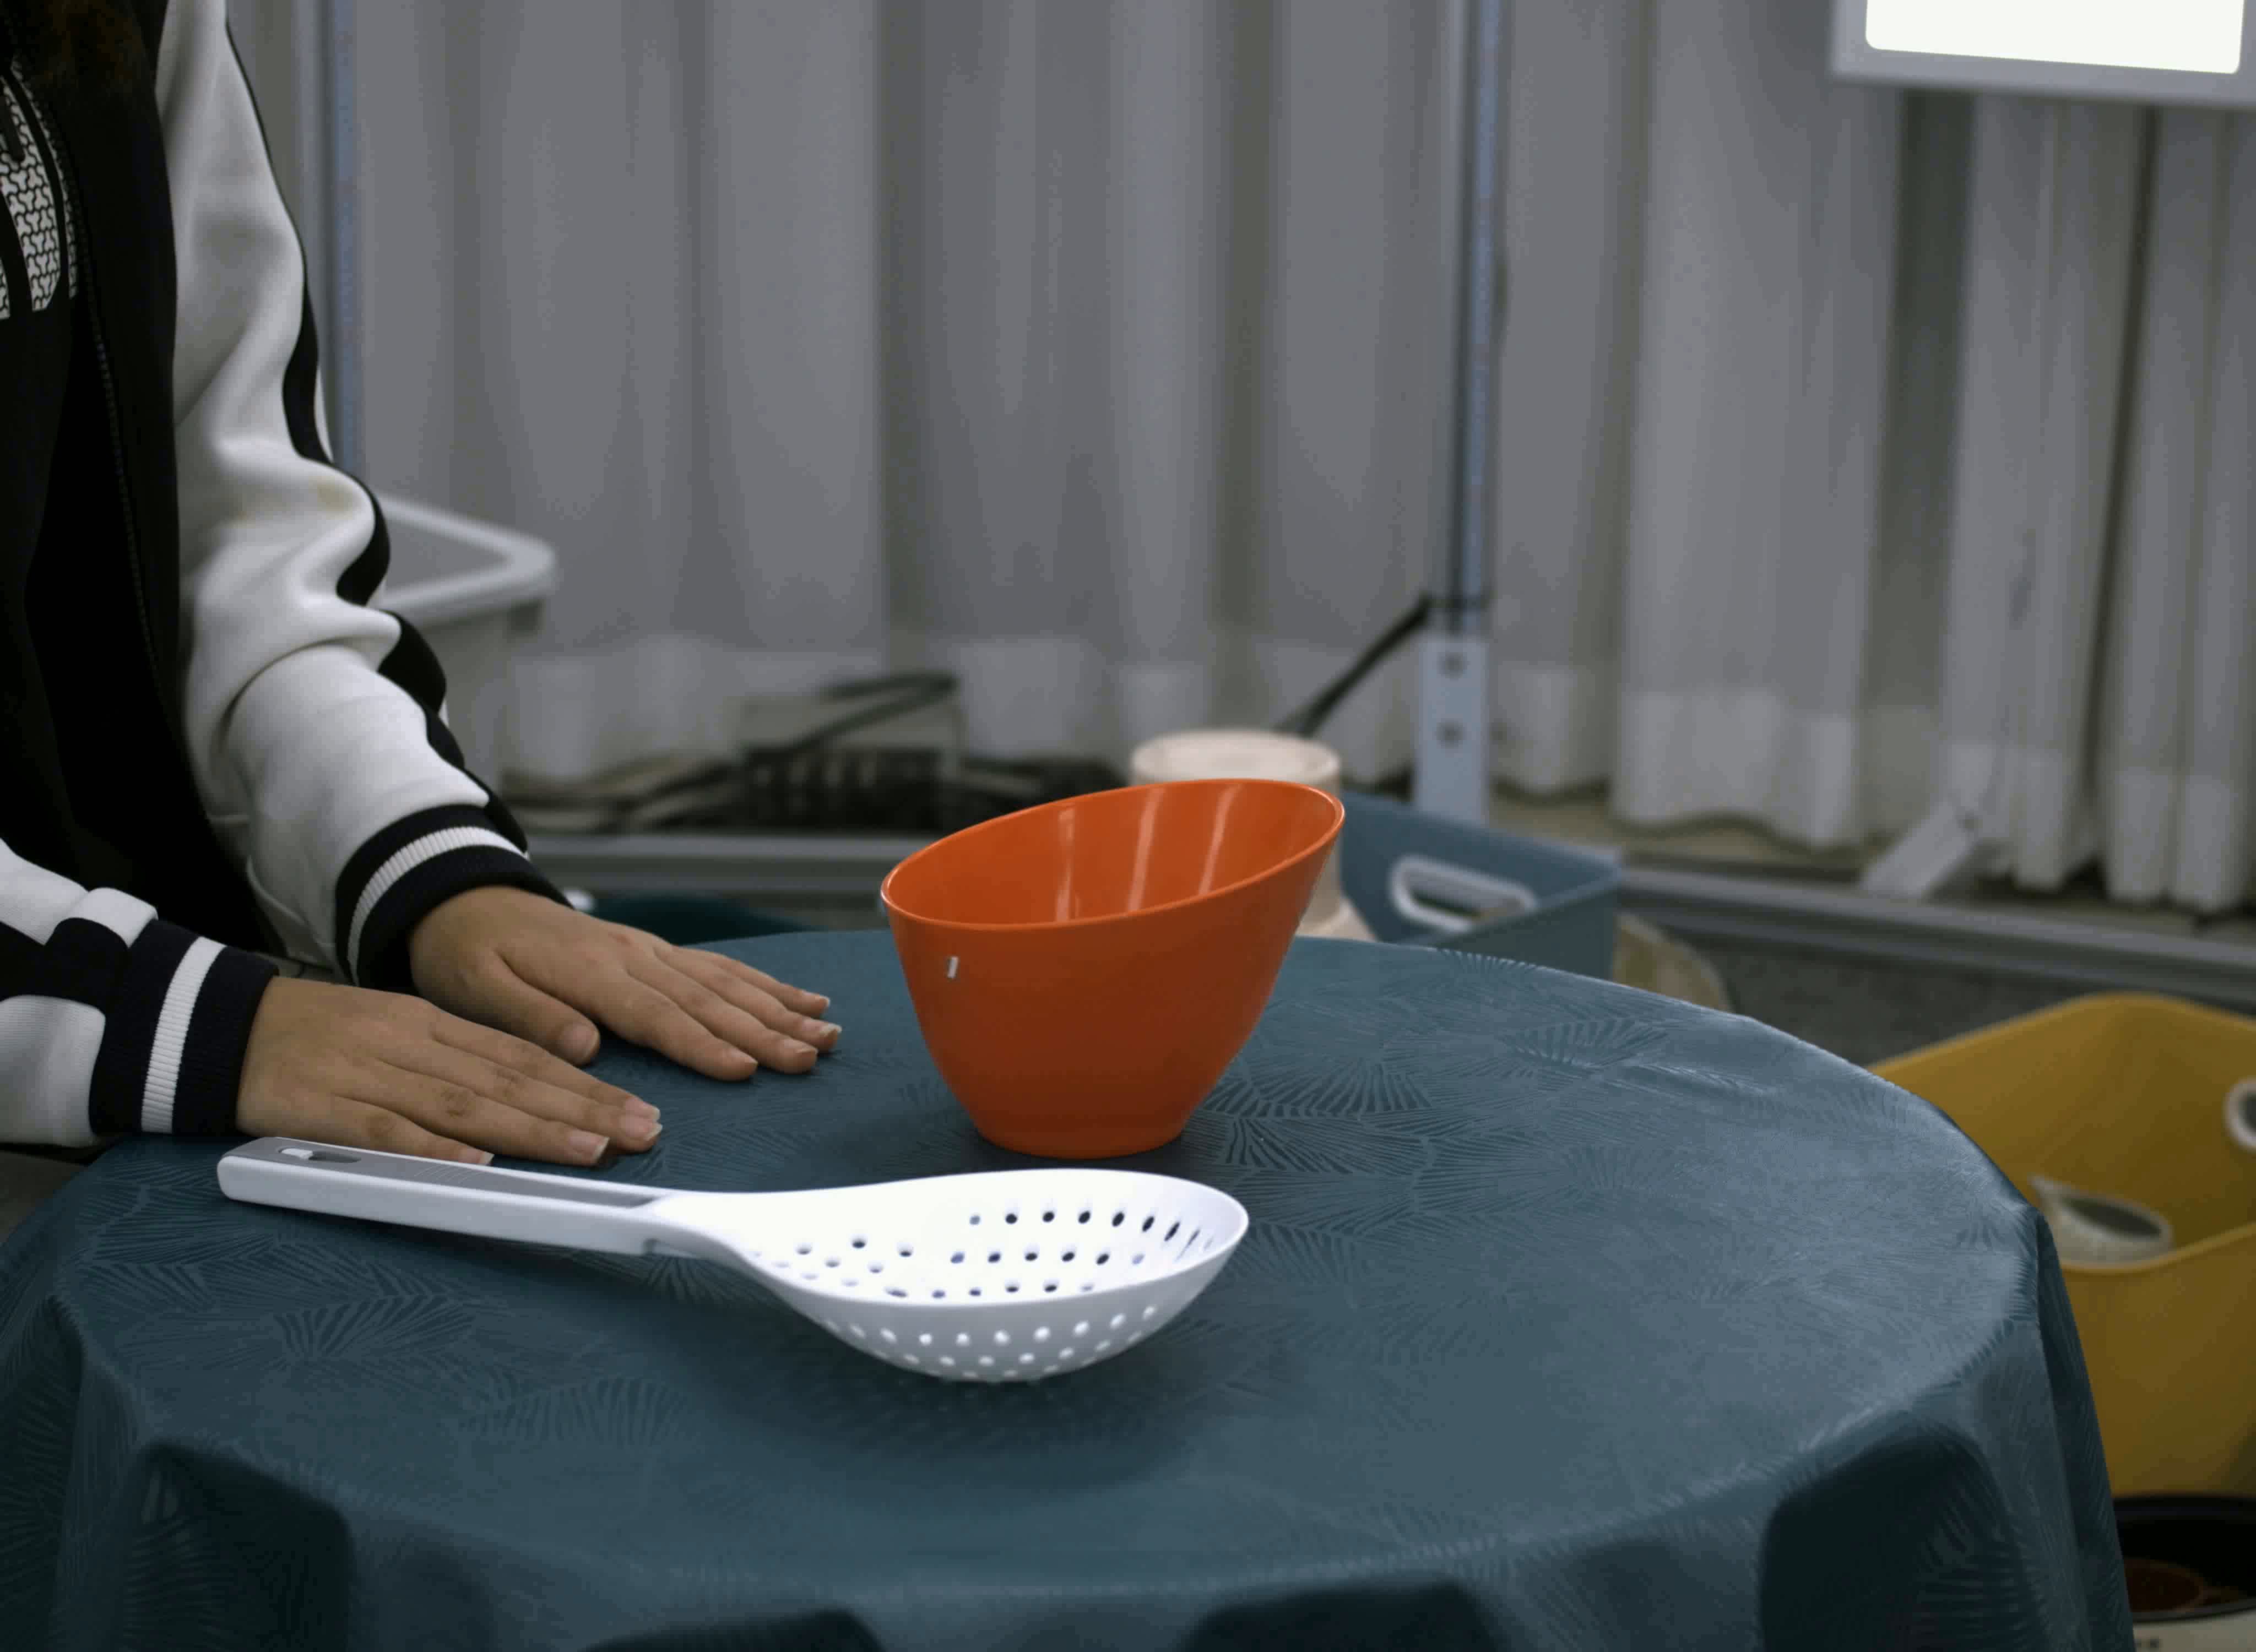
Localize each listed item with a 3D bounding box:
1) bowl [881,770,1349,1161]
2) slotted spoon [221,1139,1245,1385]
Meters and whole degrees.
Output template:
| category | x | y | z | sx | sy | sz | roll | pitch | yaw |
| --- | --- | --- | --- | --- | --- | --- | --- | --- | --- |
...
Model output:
| category | x | y | z | sx | sy | sz | roll | pitch | yaw |
| --- | --- | --- | --- | --- | --- | --- | --- | --- | --- |
| bowl | -0.004 | 0.046 | 1.665 | 0.147 | 0.105 | 0.147 | 0 | 19 | 1 |
| slotted spoon | -0.125 | 0.115 | 1.522 | 0.345 | 0.046 | 0.136 | 9 | 16 | 31 |
